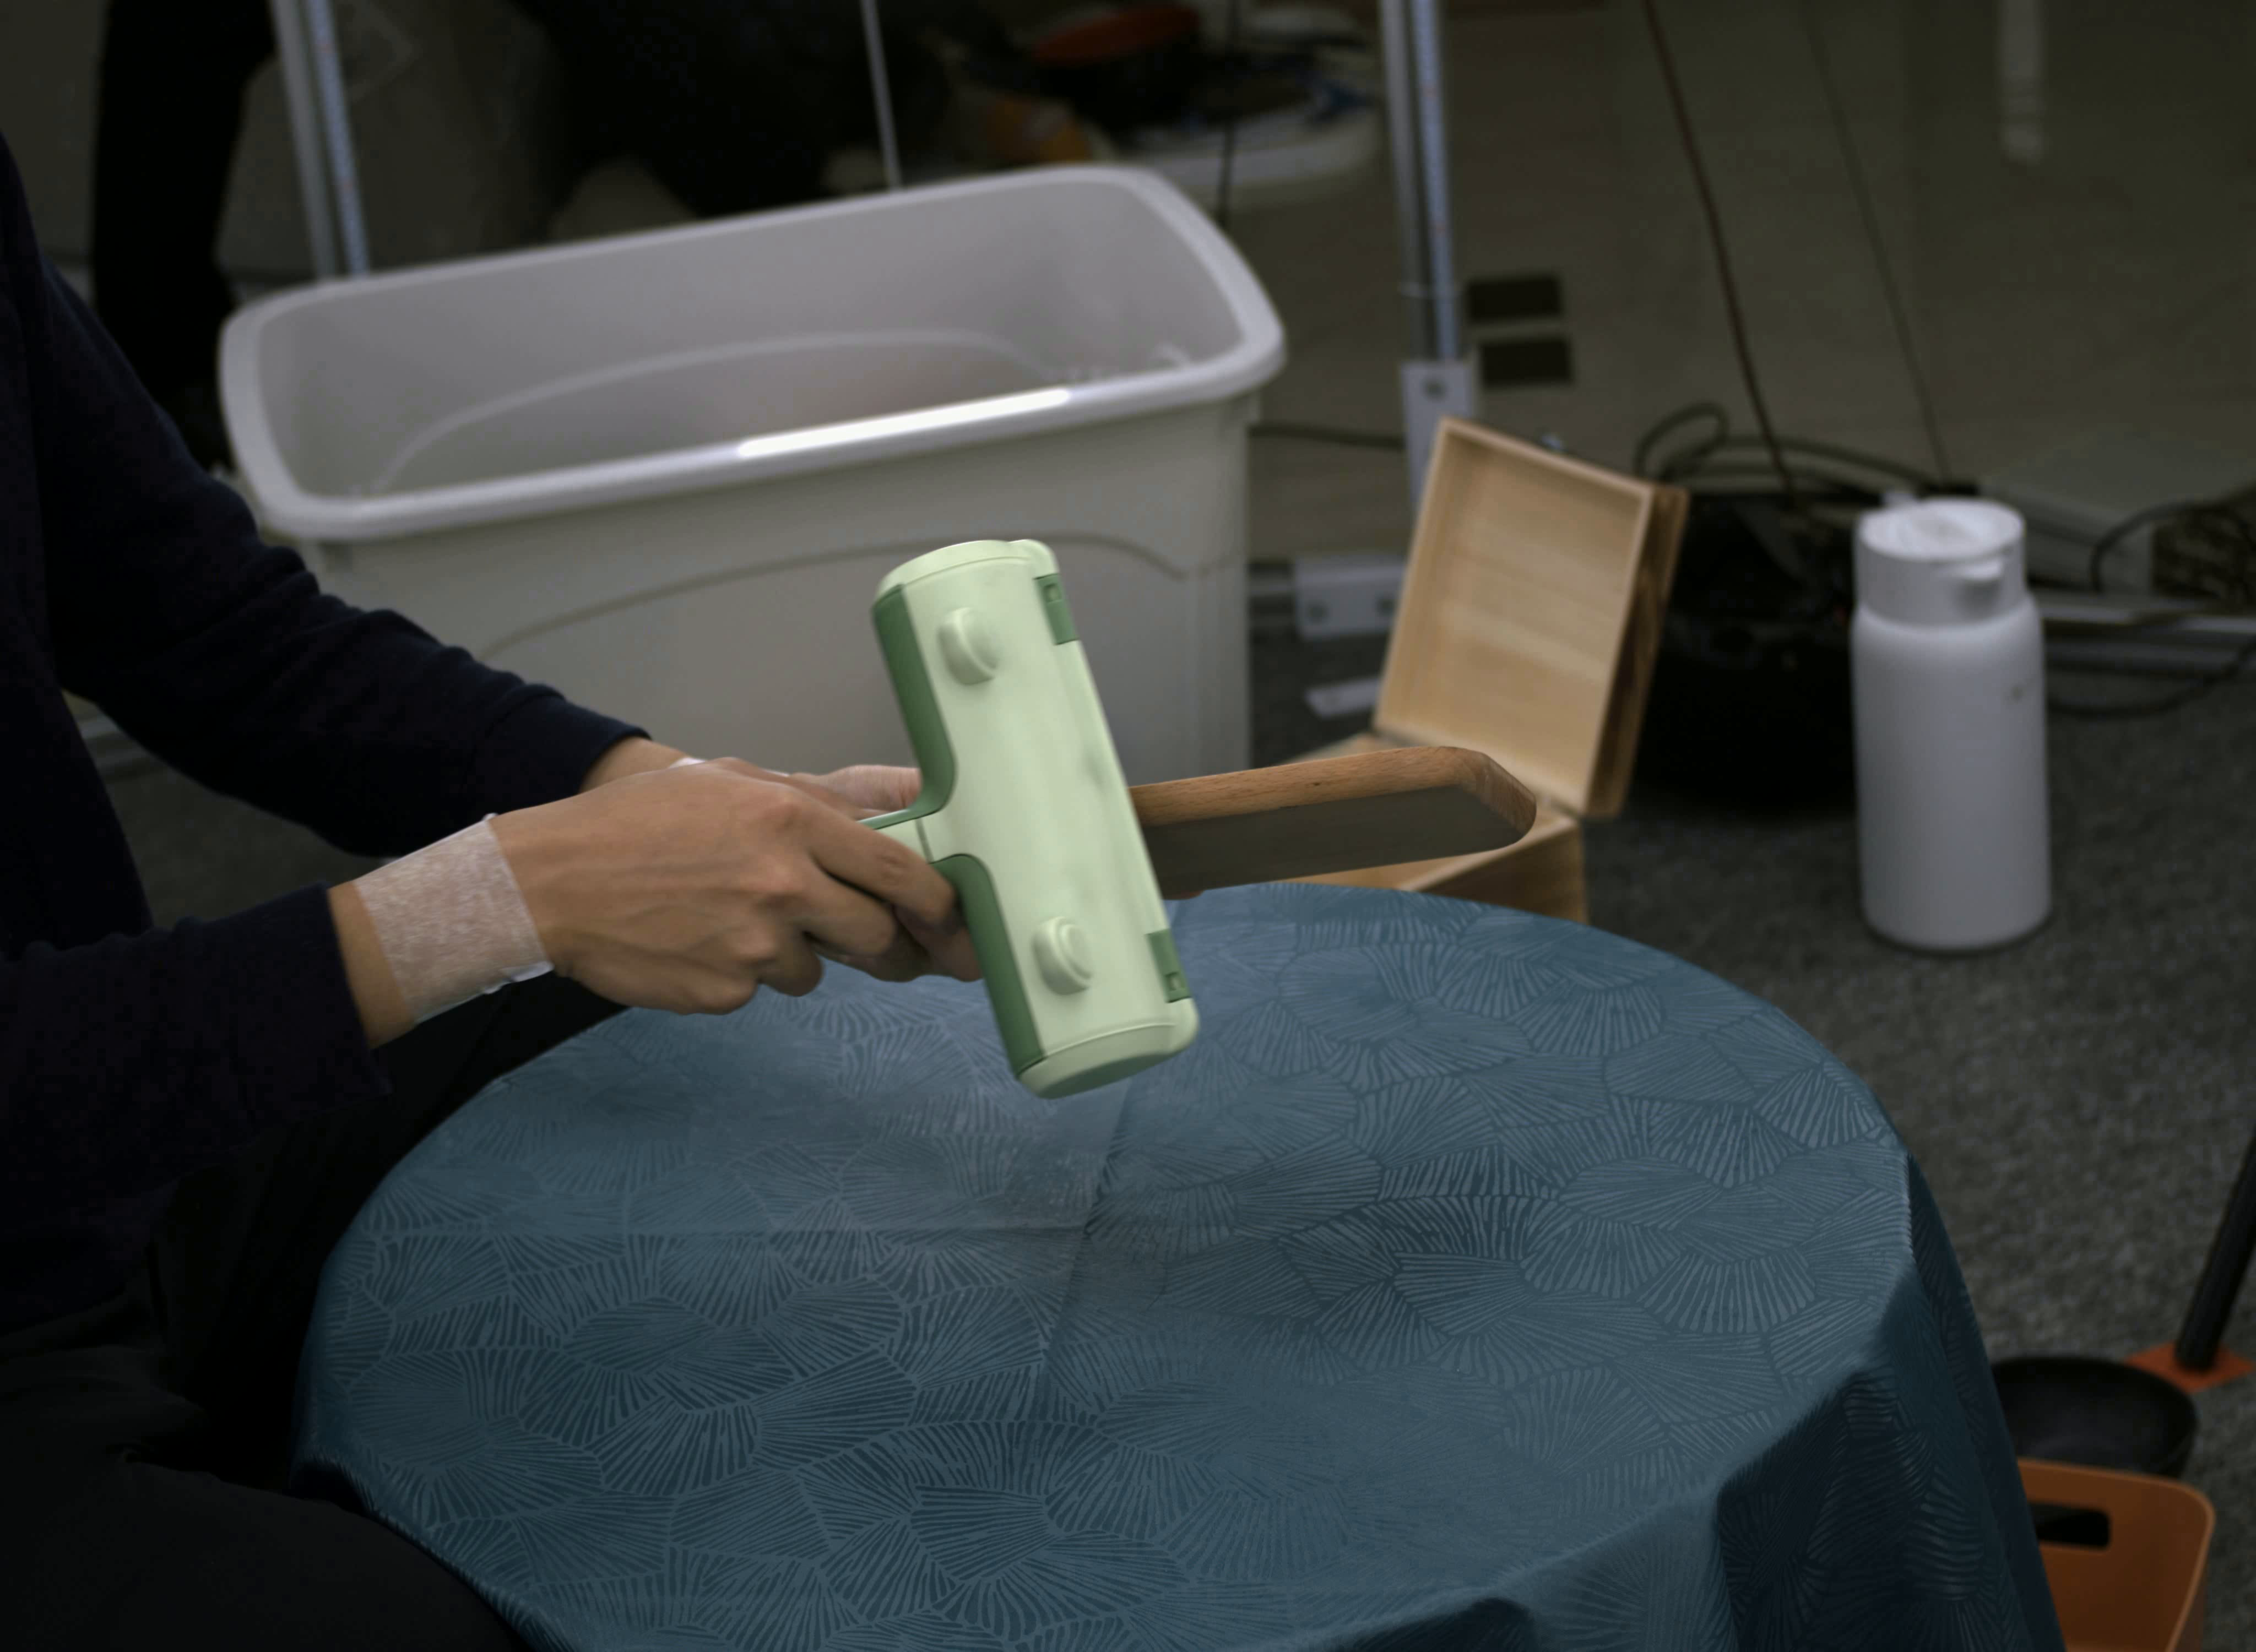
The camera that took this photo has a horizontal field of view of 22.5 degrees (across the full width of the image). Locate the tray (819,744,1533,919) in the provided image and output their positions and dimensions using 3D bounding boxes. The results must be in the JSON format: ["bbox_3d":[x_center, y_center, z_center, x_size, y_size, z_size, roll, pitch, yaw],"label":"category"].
[{"bbox_3d":[0.018,0.004,2.070,0.250,0.023,0.131,-9,-16,17],"label":"tray"}]

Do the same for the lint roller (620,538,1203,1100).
[{"bbox_3d":[-0.086,0.008,1.975,0.183,0.197,0.083,-15,-11,-14],"label":"lint roller"}]
